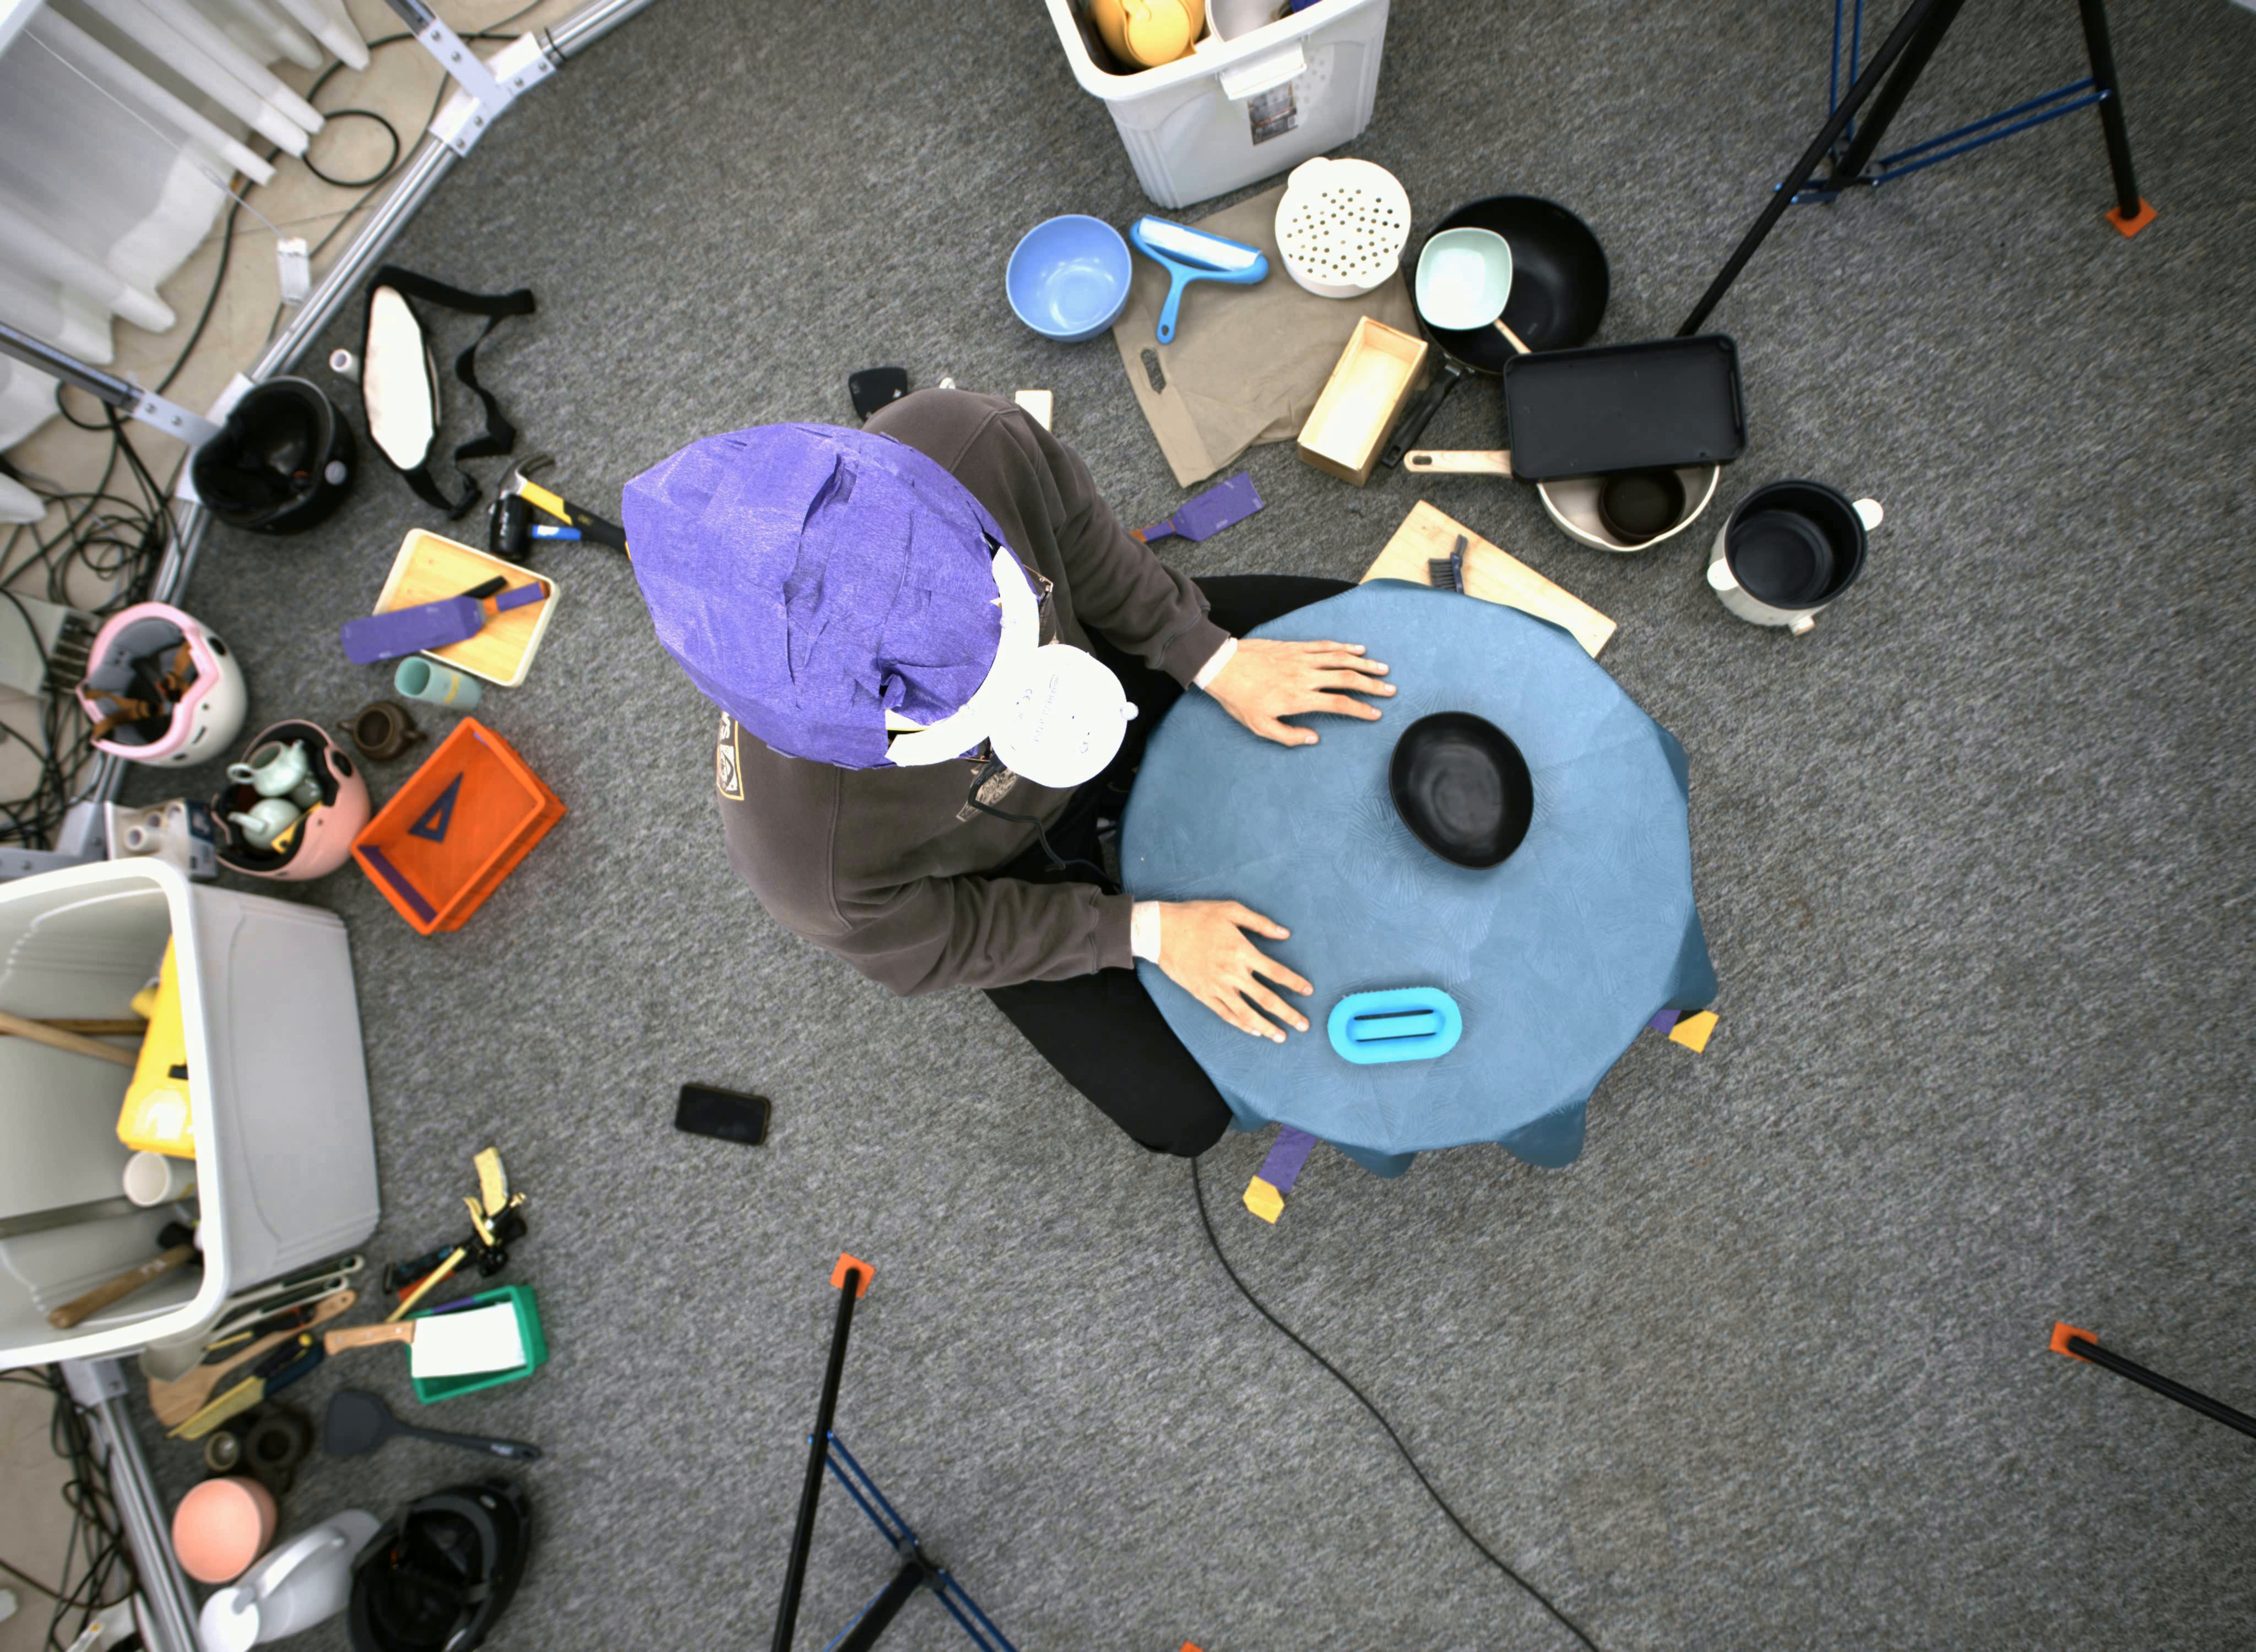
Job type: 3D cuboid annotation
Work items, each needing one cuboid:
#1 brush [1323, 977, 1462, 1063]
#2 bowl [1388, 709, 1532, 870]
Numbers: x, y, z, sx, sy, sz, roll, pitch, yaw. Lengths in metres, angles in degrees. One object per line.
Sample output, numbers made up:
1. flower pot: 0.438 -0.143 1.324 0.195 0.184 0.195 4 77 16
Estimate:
1. brush: 0.271 0.200 1.418 0.142 0.063 0.084 -4 90 11
2. bowl: 0.342 -0.038 1.417 0.138 0.066 0.169 -28 84 8
